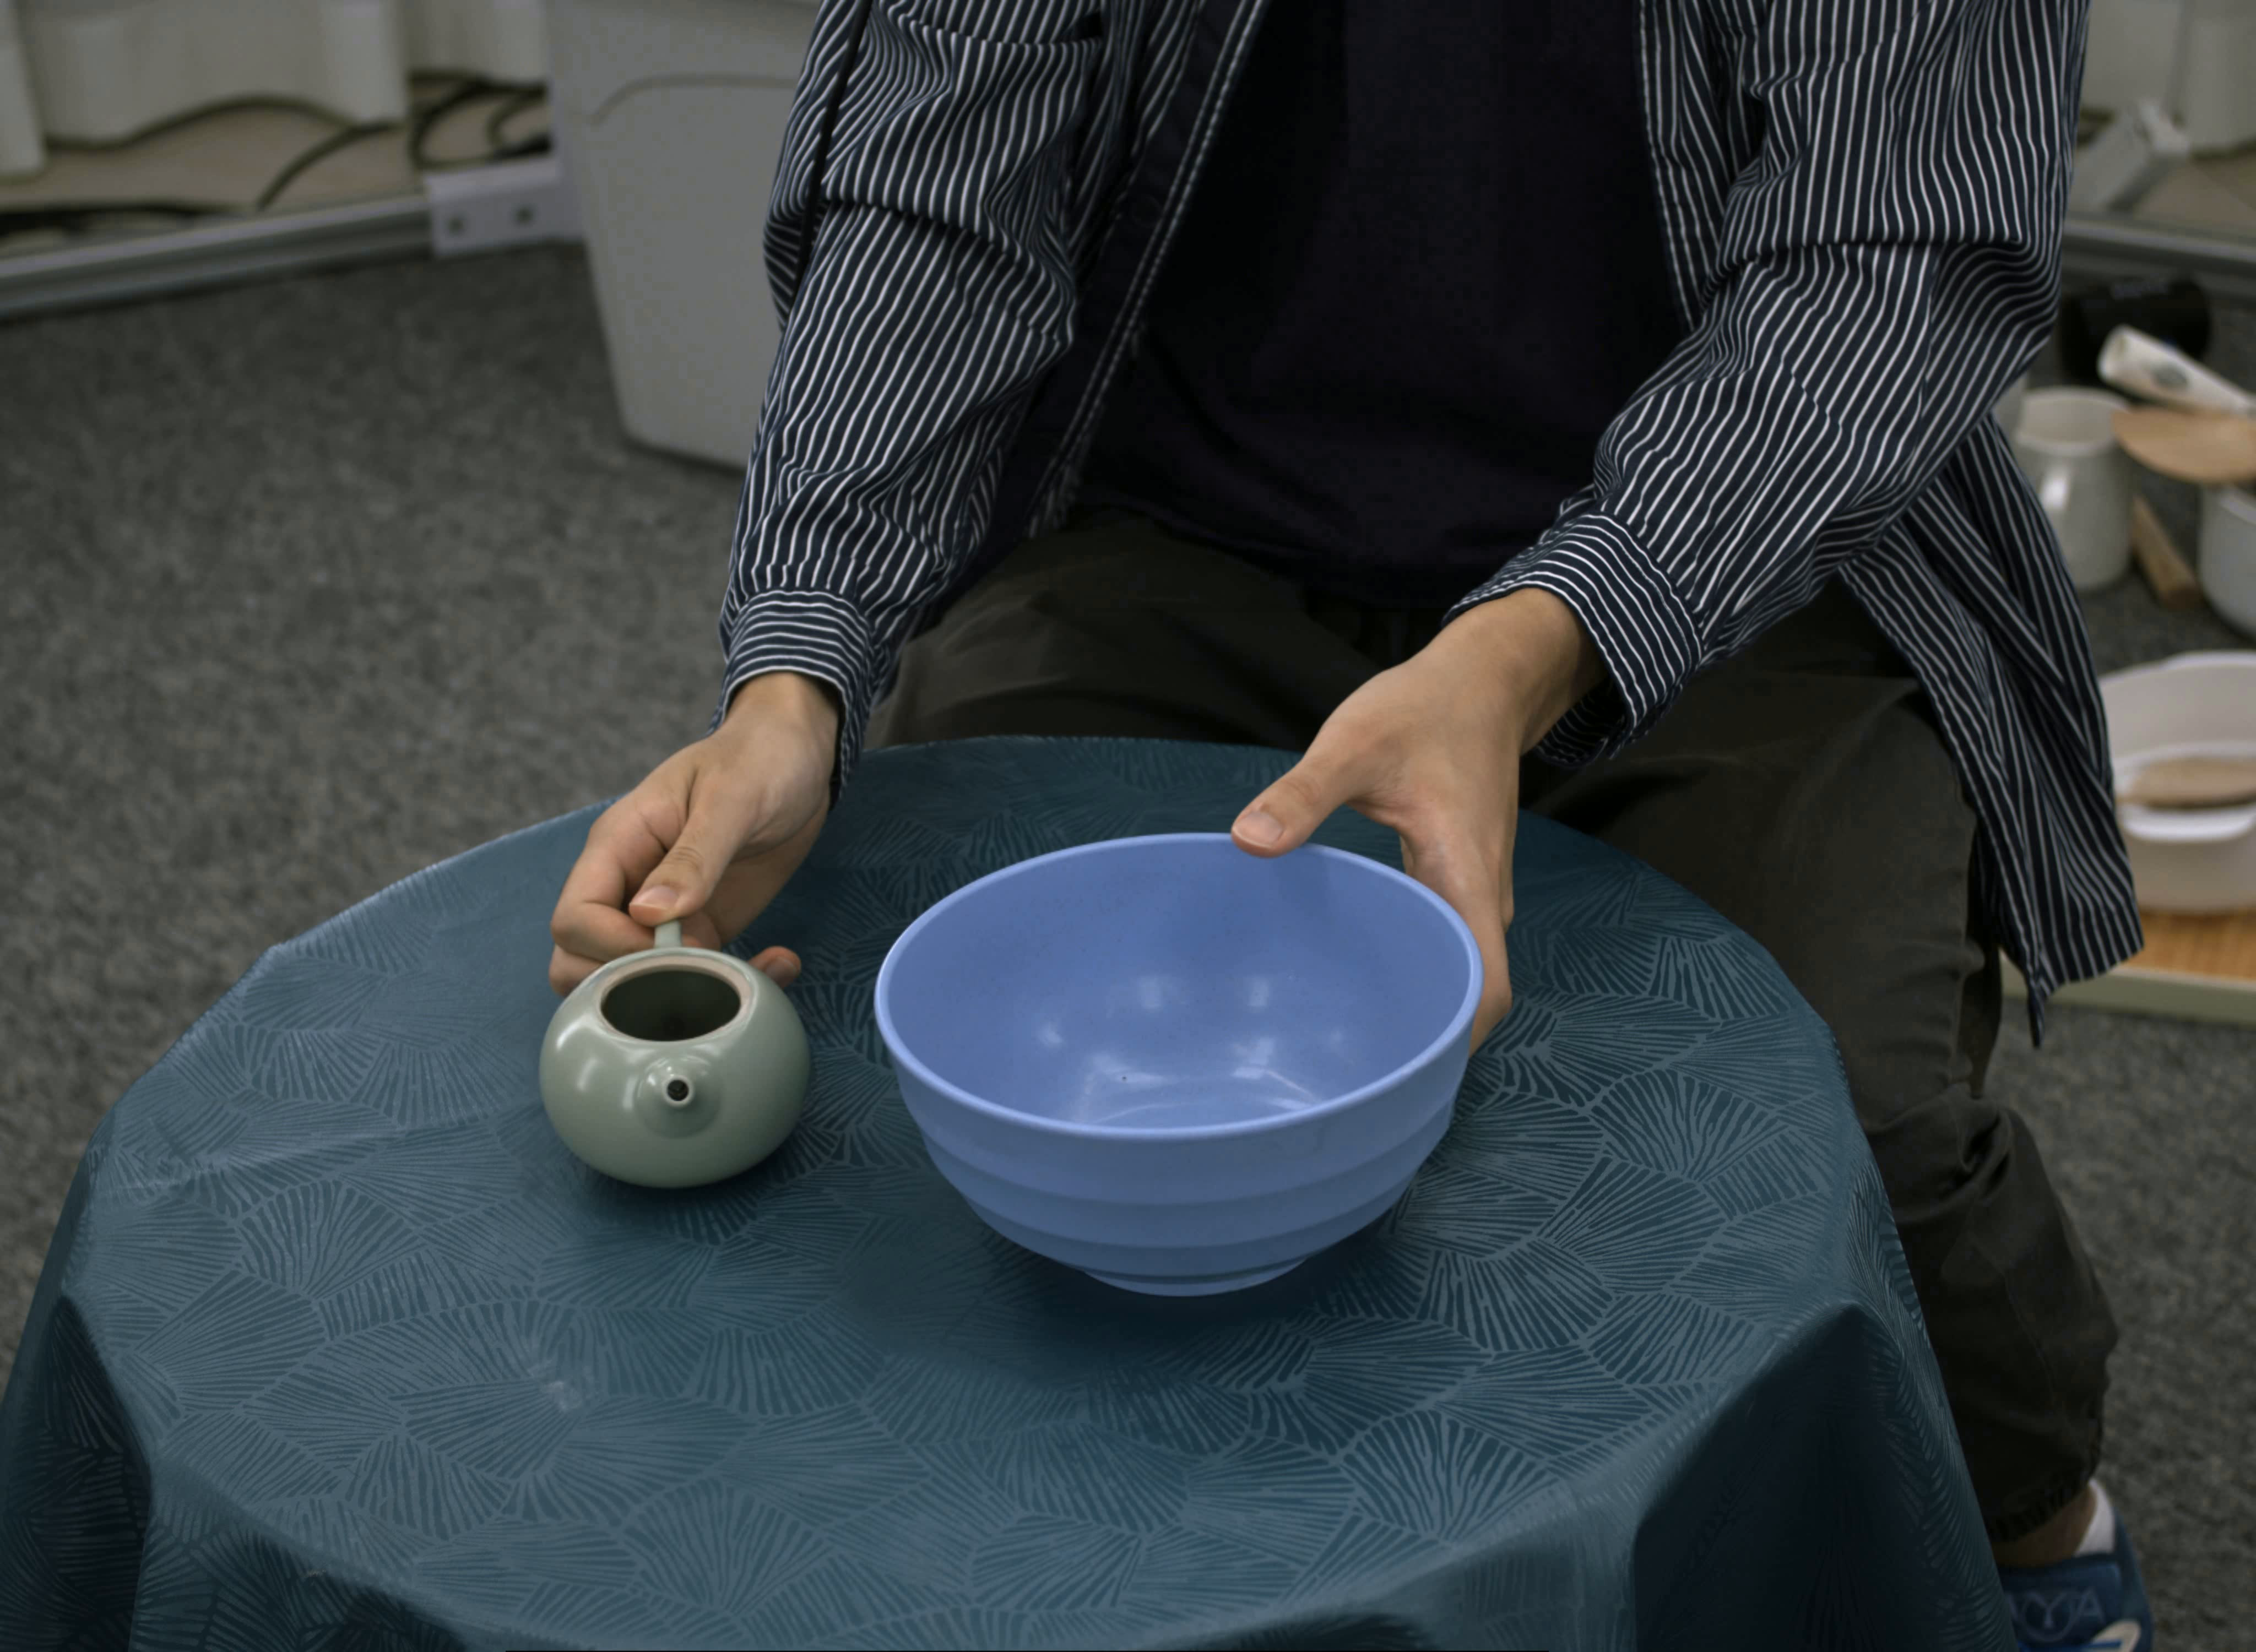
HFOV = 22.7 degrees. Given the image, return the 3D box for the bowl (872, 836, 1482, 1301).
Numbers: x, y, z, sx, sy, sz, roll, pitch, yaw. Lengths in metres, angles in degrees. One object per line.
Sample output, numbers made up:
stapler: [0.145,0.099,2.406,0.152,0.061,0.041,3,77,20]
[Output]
bowl: [0.018,0.090,1.817,0.195,0.094,0.199,-3,27,2]

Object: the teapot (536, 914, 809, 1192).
teapot: [-0.152,0.078,1.888,0.091,0.060,0.130,-3,30,0]
